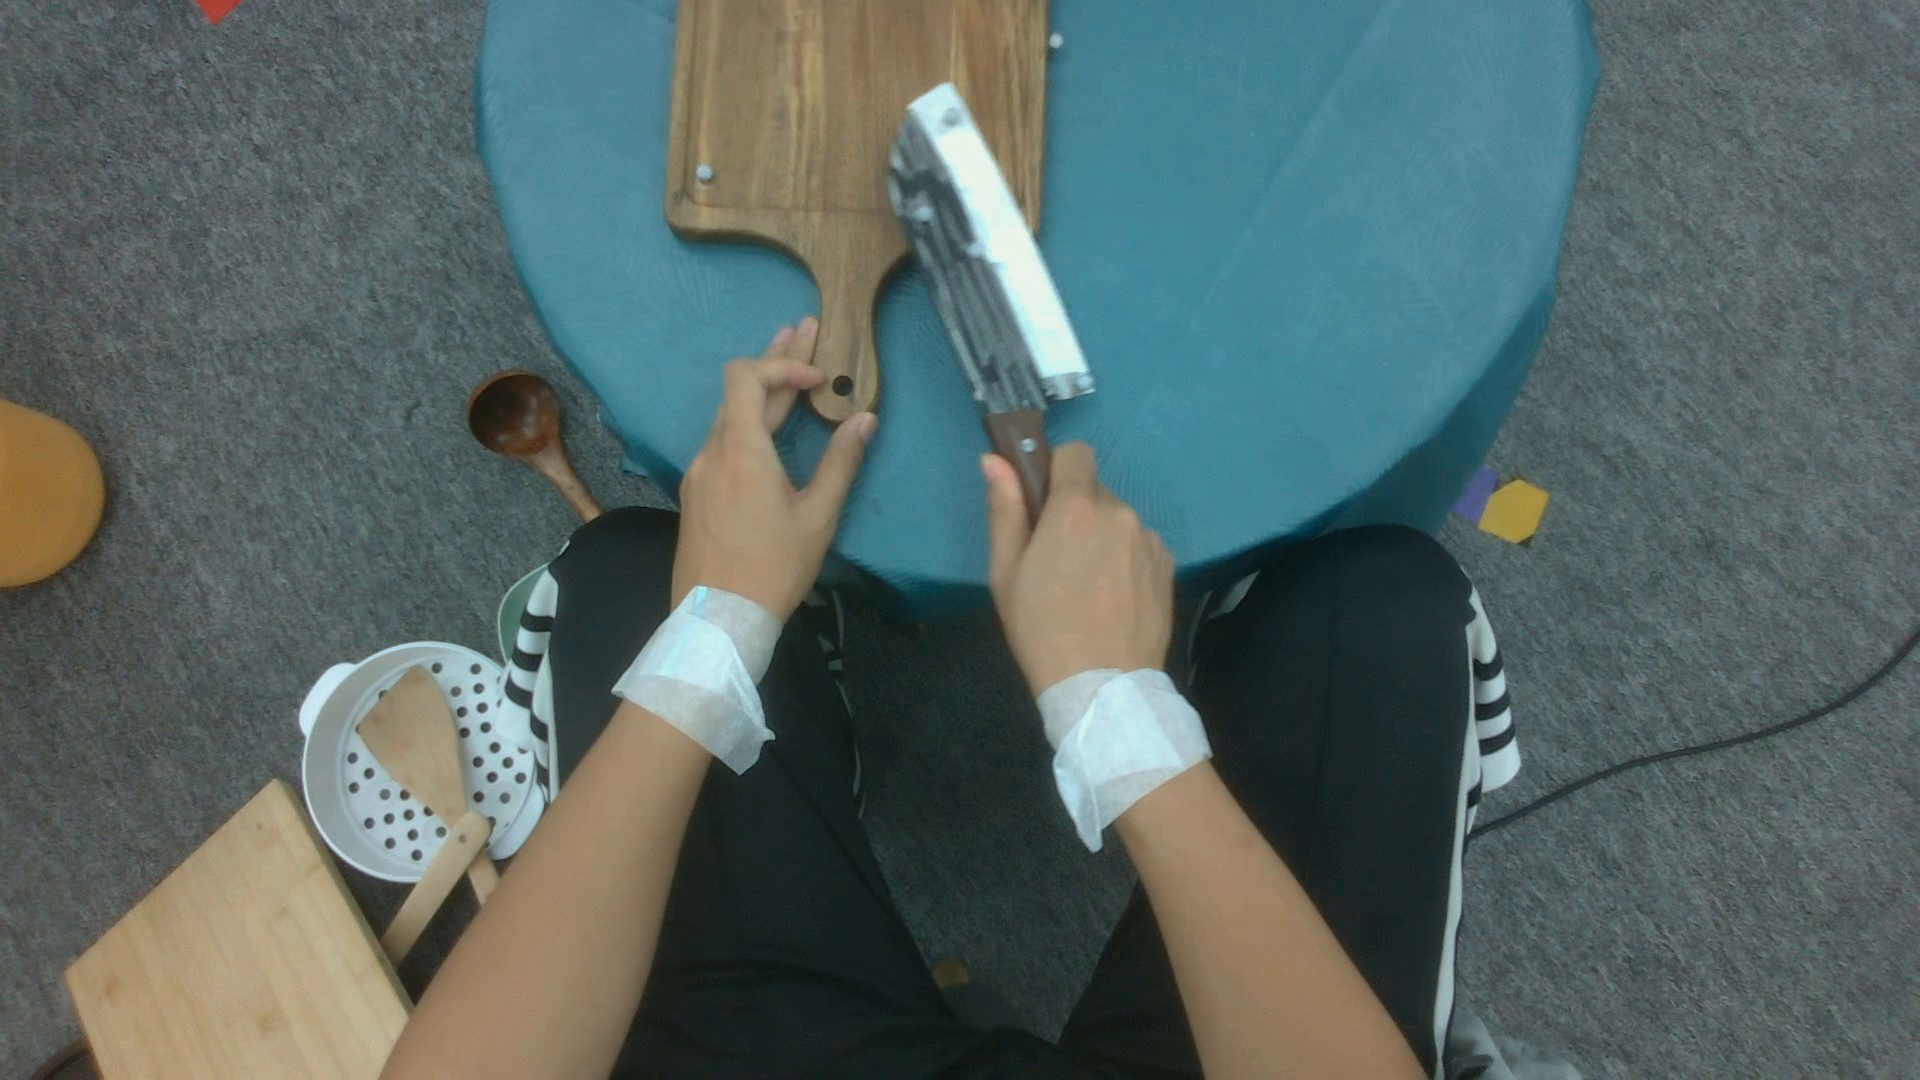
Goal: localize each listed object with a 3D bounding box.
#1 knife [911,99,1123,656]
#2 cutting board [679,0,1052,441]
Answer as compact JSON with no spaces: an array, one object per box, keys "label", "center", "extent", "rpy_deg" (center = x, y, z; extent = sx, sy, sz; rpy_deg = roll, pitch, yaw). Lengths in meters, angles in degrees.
[{"label":"knife","center":[0.037,-0.090,0.702],"extent":[0.068,0.024,0.300],"rpy_deg":[-16,81,-24]},{"label":"cutting board","center":[-0.051,-0.227,0.749],"extent":[0.201,0.023,0.352],"rpy_deg":[1,80,2]}]
